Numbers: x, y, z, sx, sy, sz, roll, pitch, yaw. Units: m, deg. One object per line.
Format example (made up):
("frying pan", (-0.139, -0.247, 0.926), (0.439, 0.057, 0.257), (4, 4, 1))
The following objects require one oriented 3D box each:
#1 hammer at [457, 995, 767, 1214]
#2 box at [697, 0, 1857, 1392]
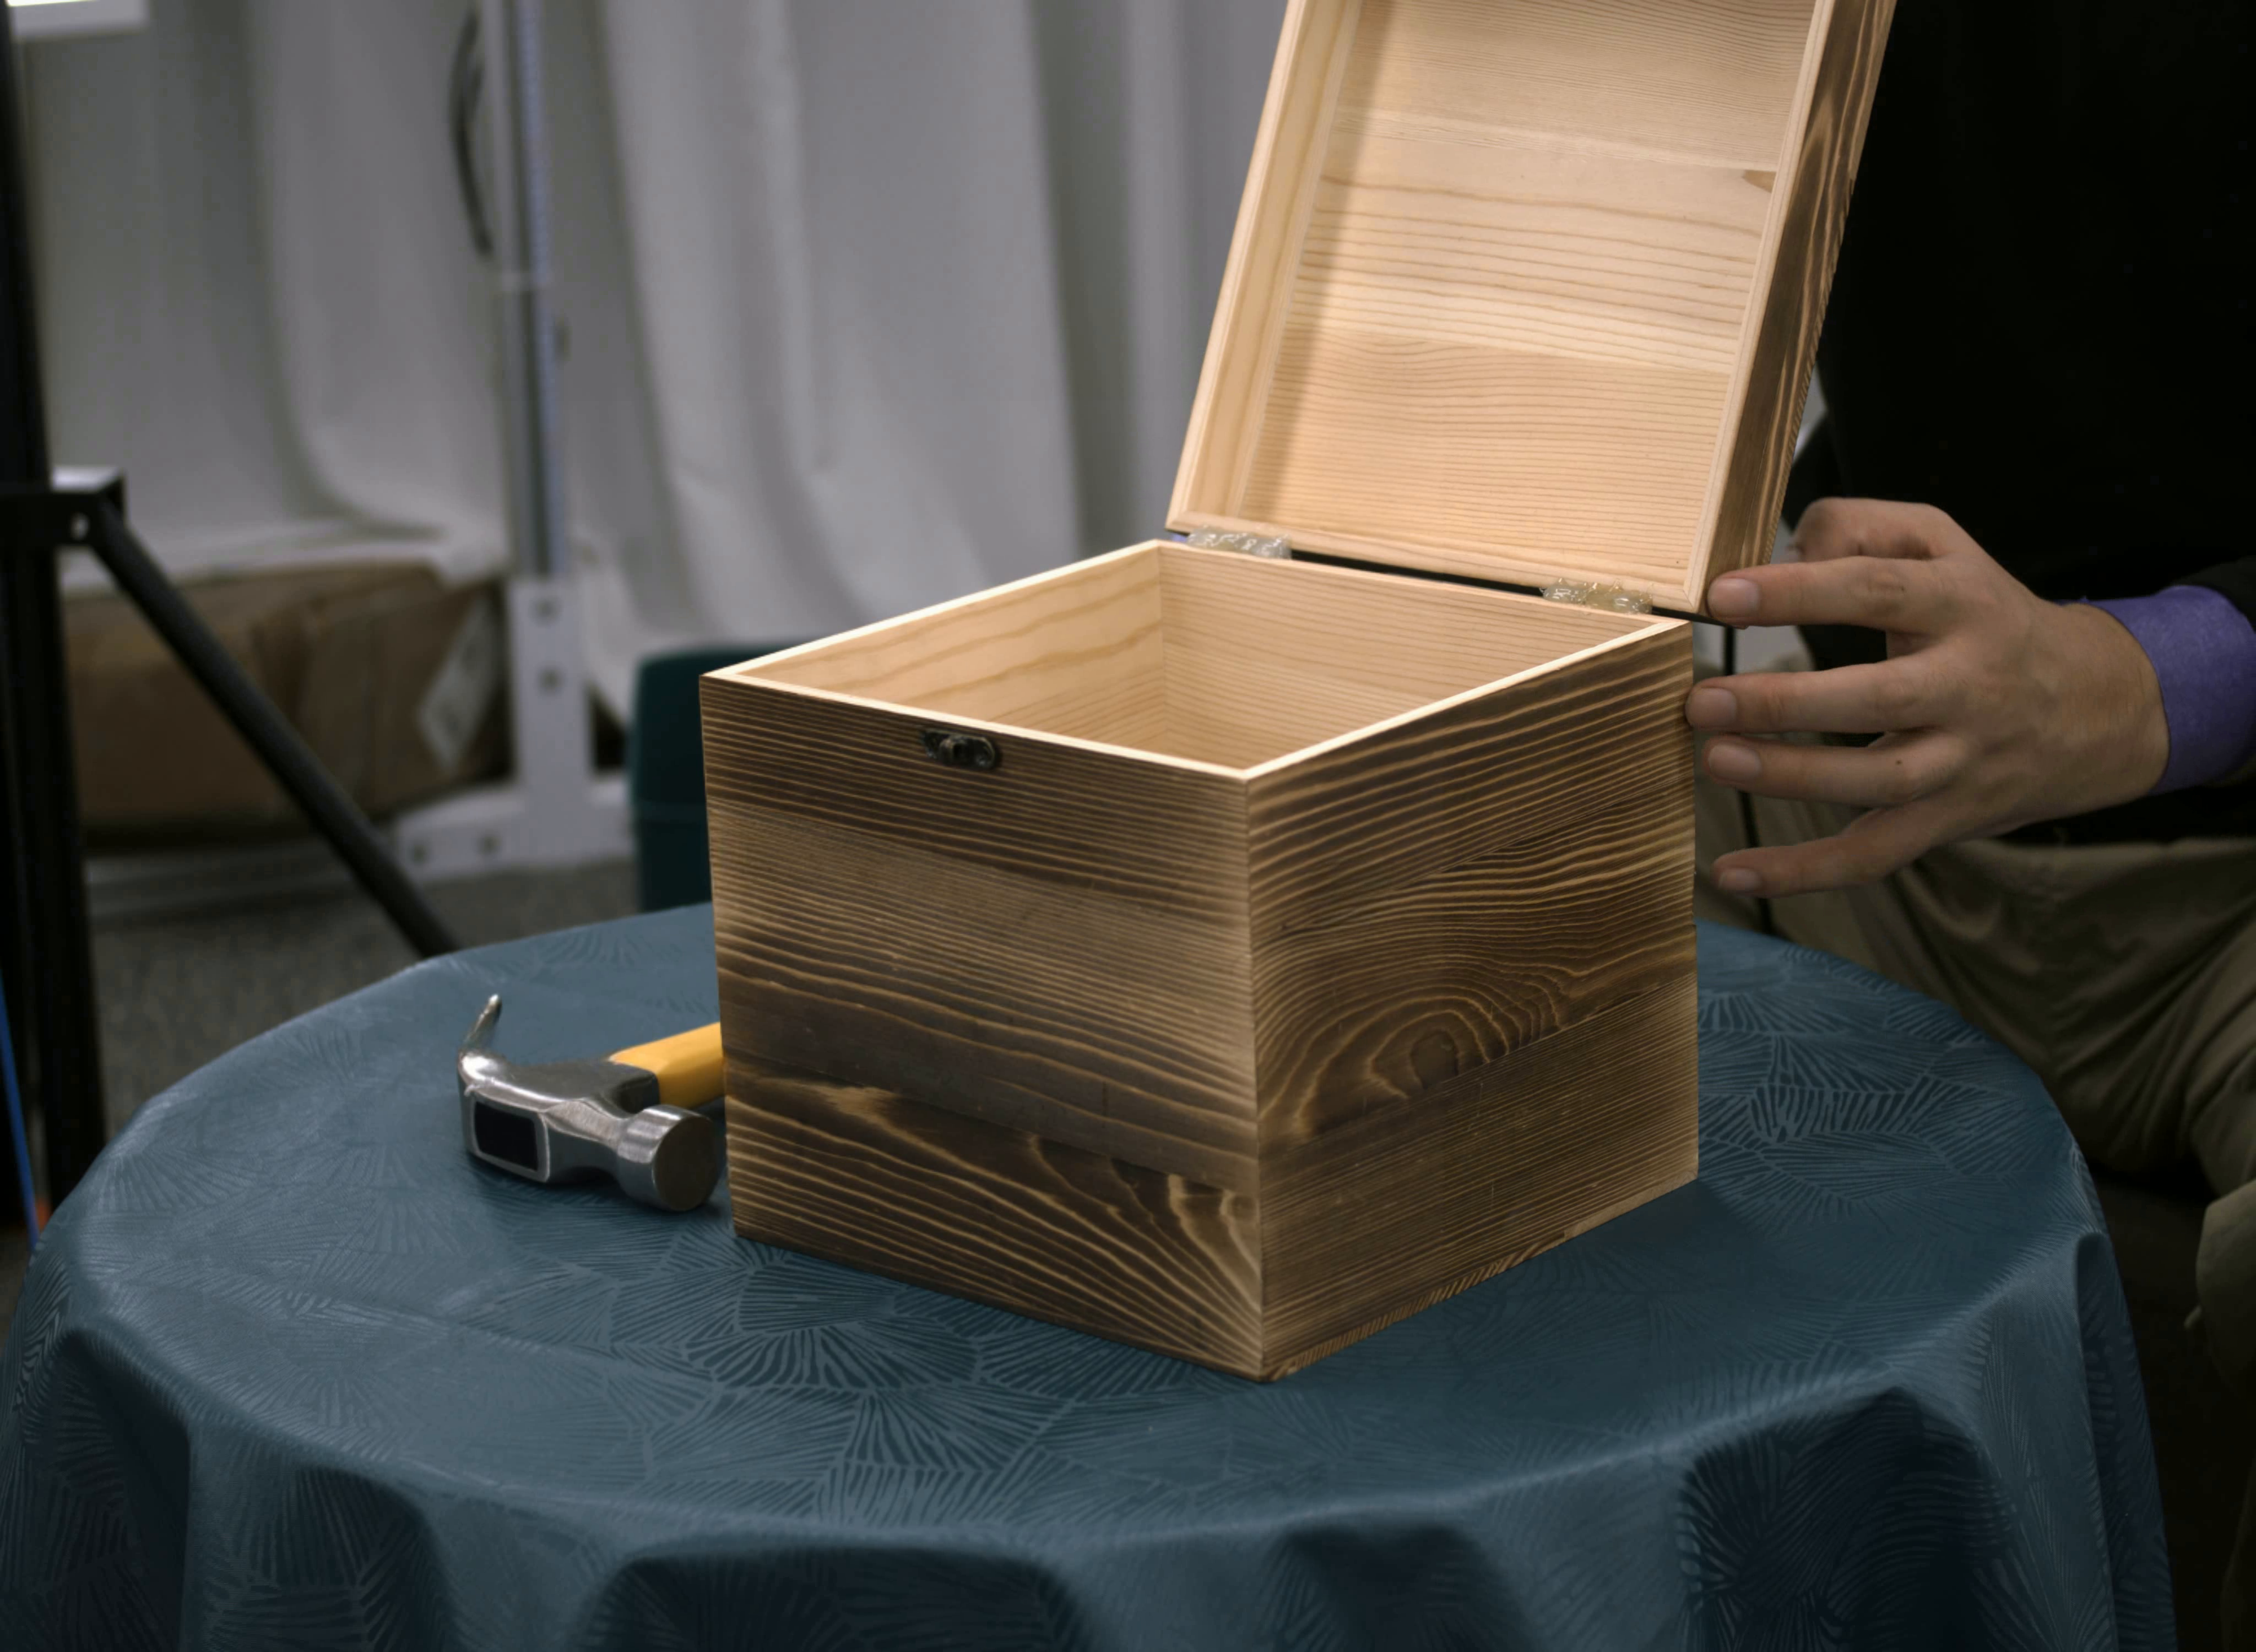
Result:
("hammer", (-0.073, 0.051, 1.701), (0.134, 0.032, 0.331), (12, 23, 42))
("box", (0.053, -0.072, 1.530), (0.213, 0.375, 0.315), (10, 19, 41))
